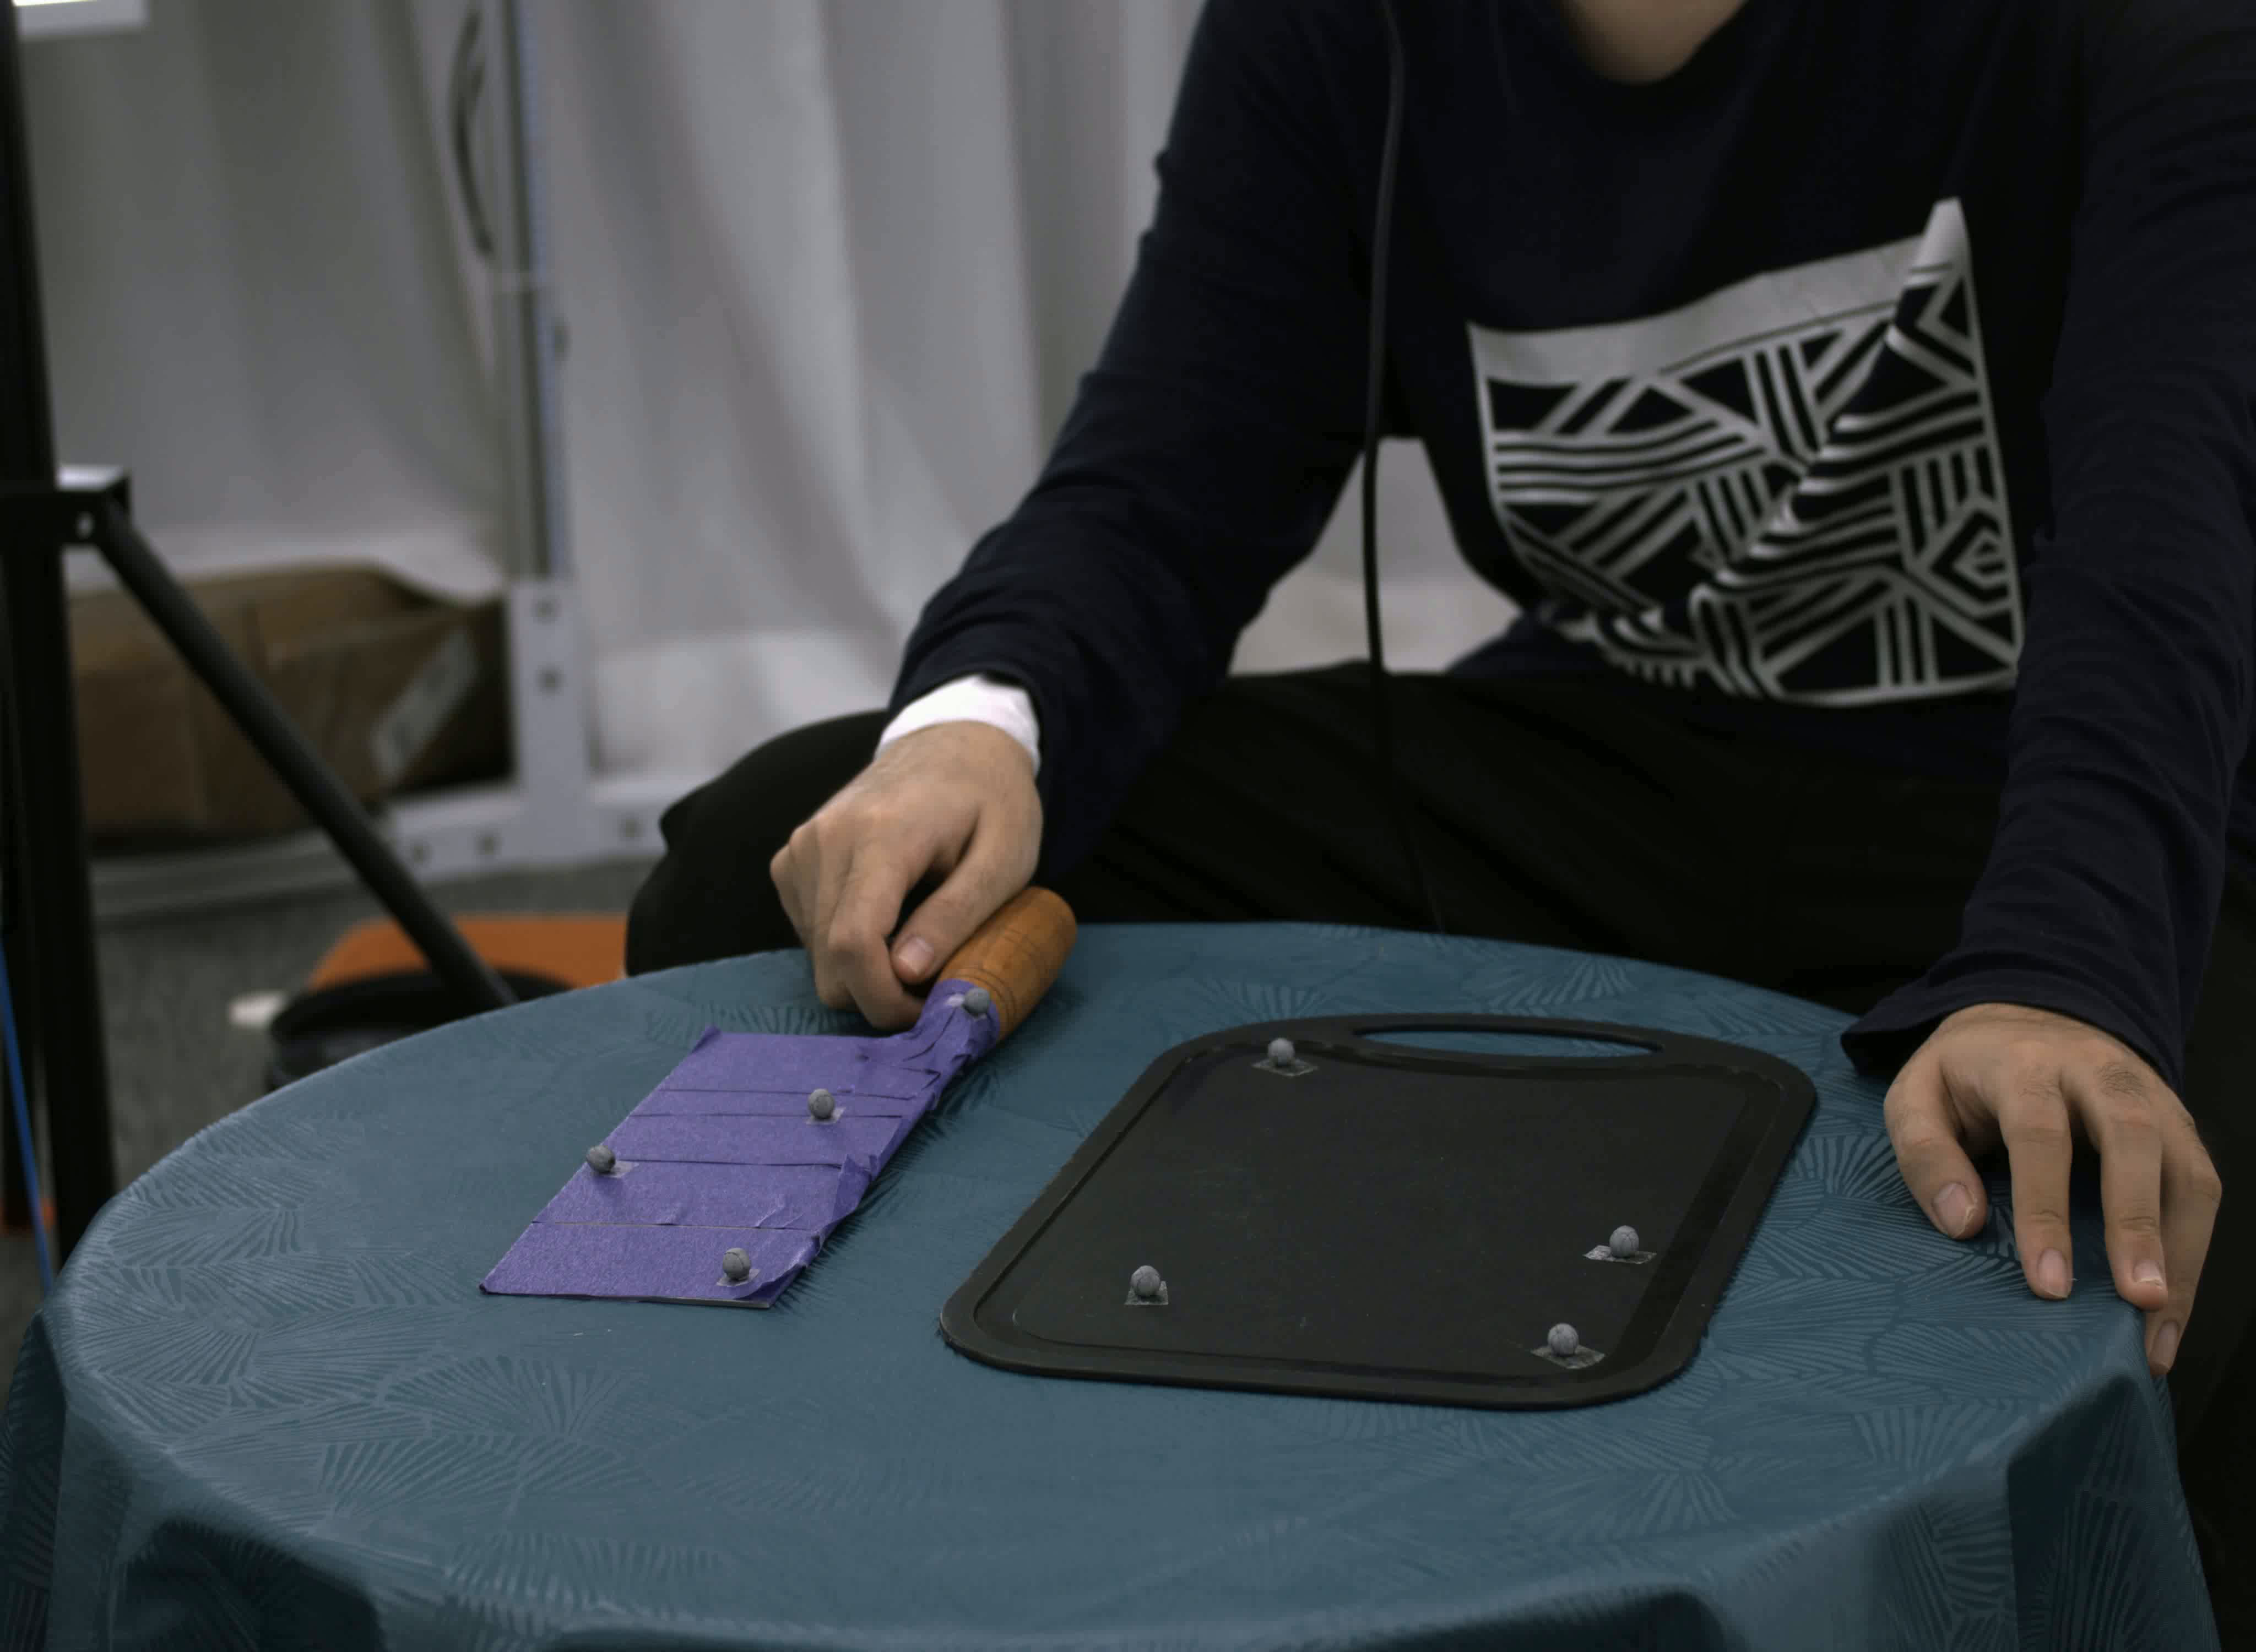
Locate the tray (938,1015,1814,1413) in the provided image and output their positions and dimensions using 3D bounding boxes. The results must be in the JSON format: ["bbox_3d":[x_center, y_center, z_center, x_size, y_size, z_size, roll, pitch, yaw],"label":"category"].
[{"bbox_3d":[0.081,0.105,1.549,0.213,0.010,0.322,3,16,17],"label":"tray"}]

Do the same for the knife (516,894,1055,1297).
[{"bbox_3d":[-0.102,0.079,1.630,0.104,0.032,0.313,2,17,14],"label":"knife"}]
